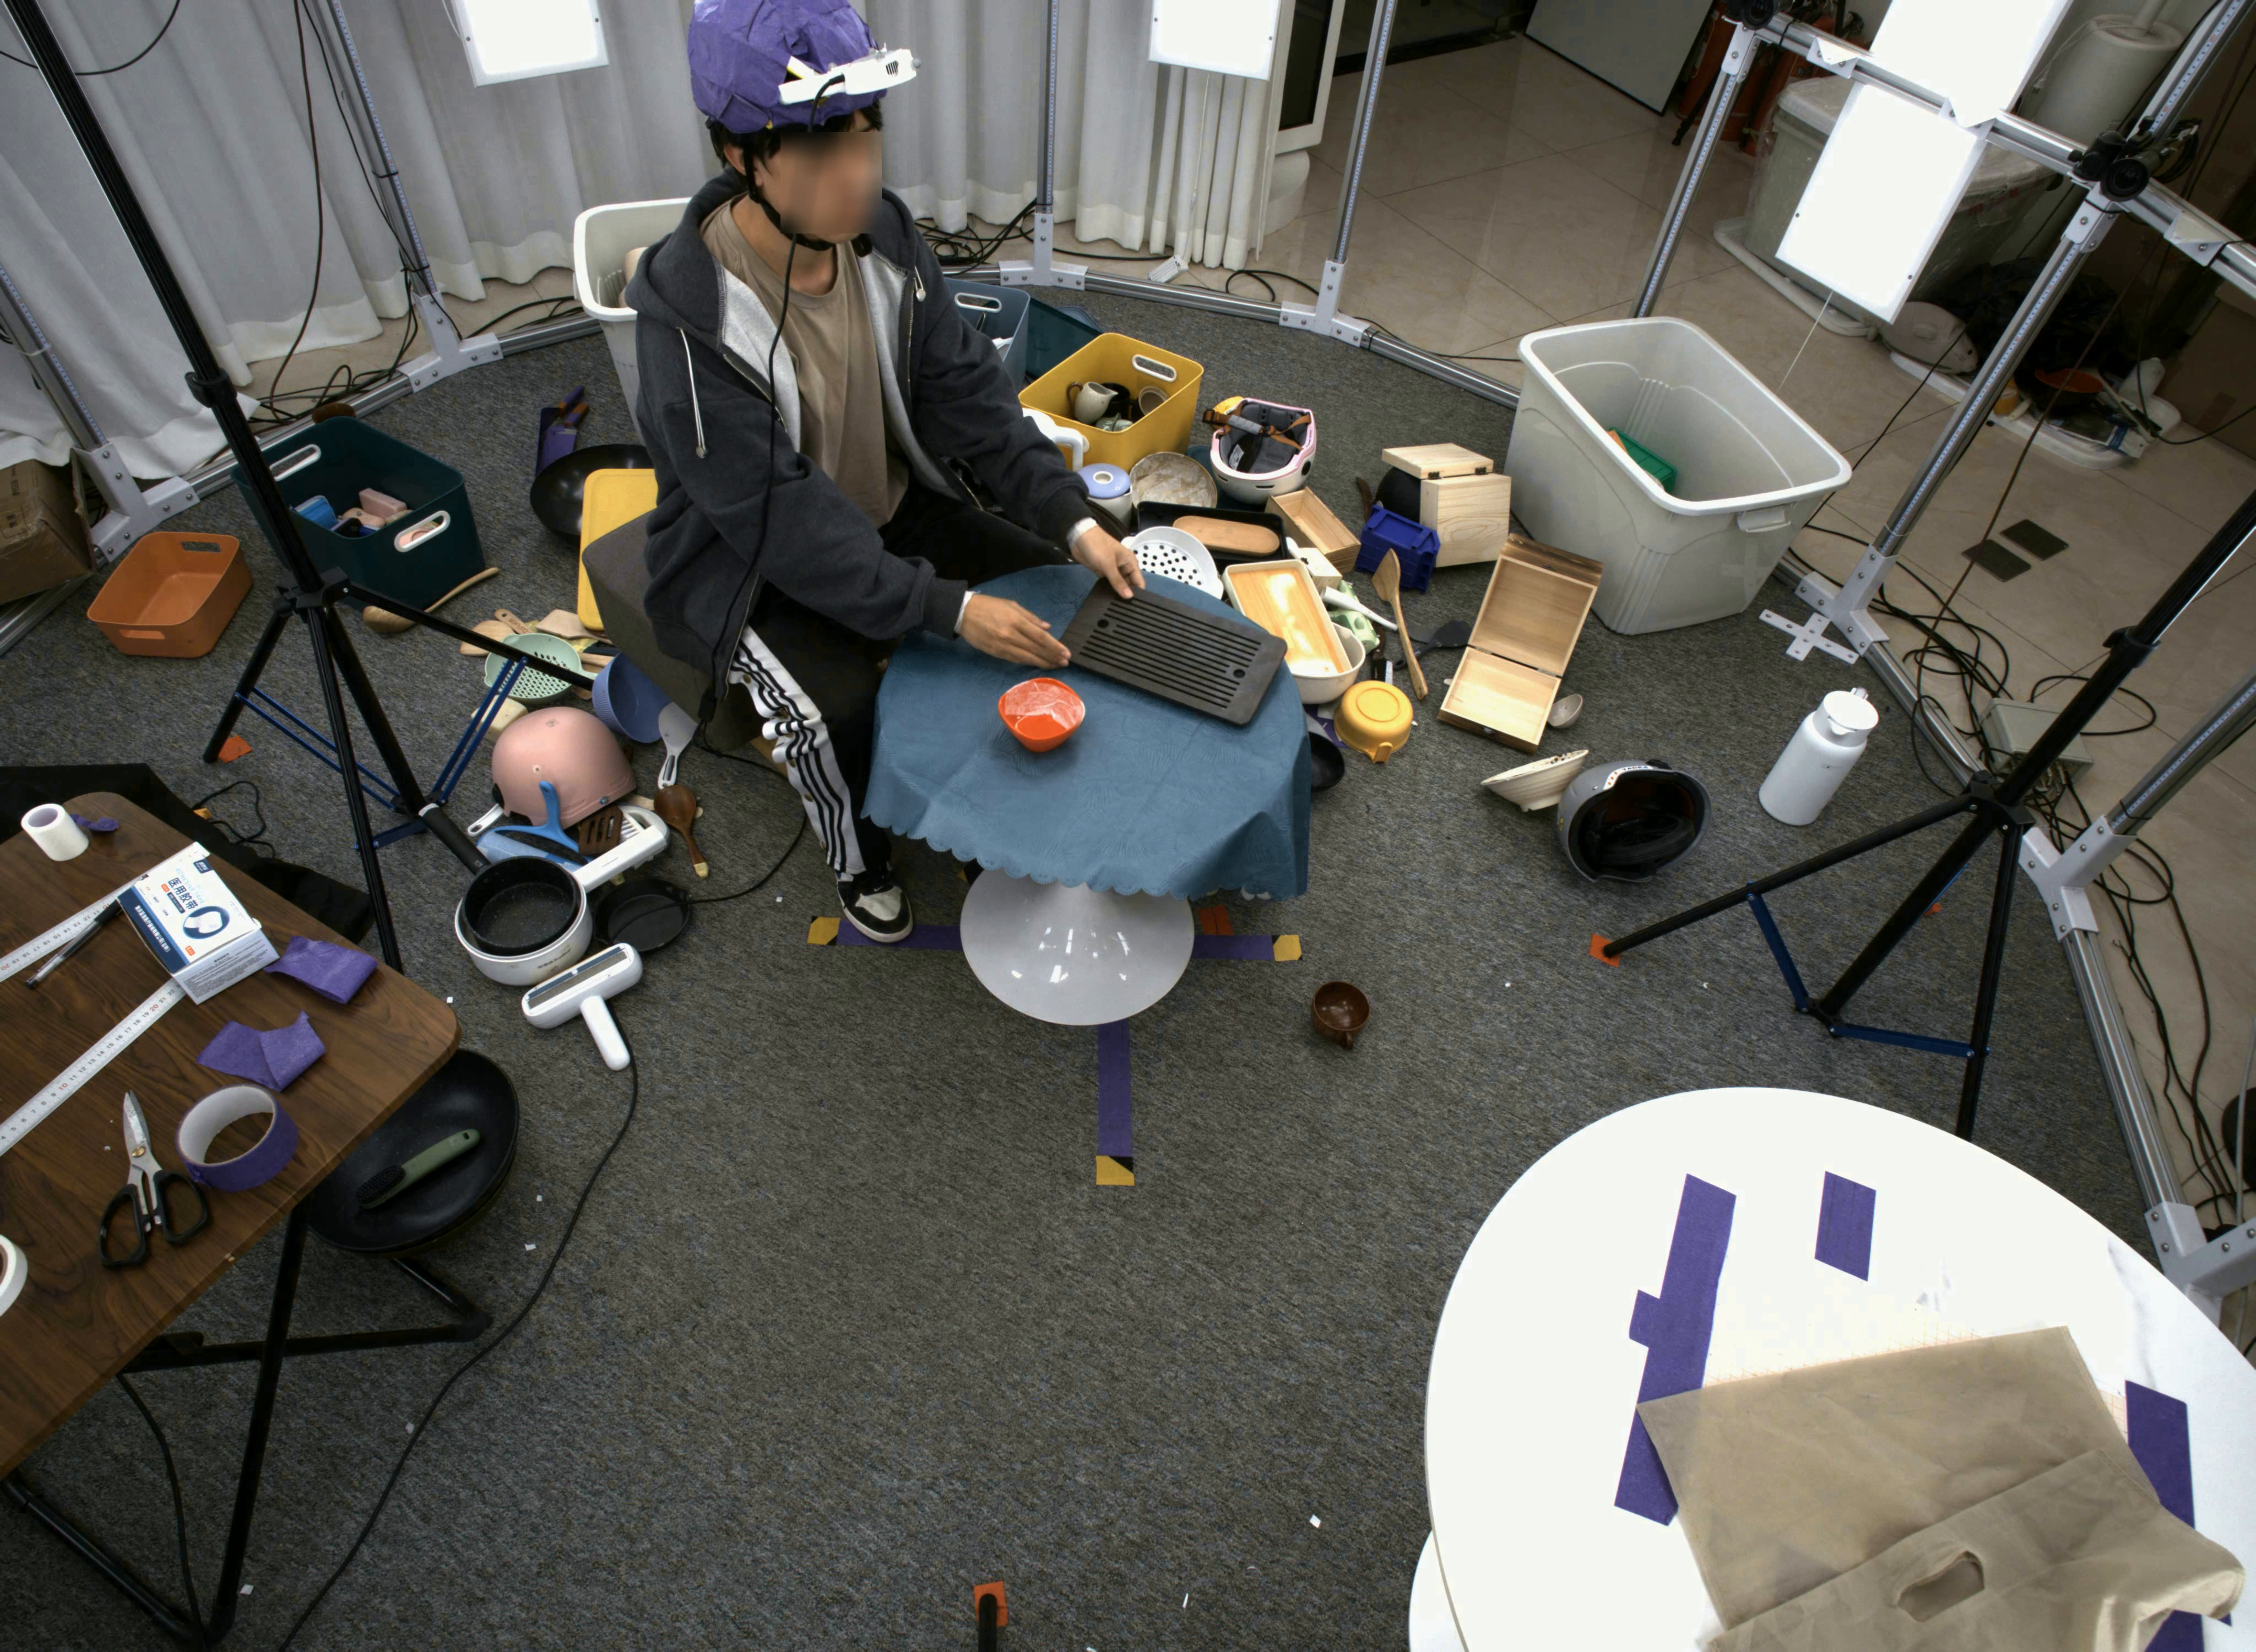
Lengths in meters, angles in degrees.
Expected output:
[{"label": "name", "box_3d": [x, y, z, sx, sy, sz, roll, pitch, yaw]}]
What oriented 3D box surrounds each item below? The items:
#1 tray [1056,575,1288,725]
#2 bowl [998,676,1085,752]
[{"label": "tray", "box_3d": [0.064, -0.257, 1.865, 0.308, 0.018, 0.173, 22, 60, 14]}, {"label": "bowl", "box_3d": [-0.118, -0.146, 1.750, 0.119, 0.050, 0.122, 2, 50, -2]}]
